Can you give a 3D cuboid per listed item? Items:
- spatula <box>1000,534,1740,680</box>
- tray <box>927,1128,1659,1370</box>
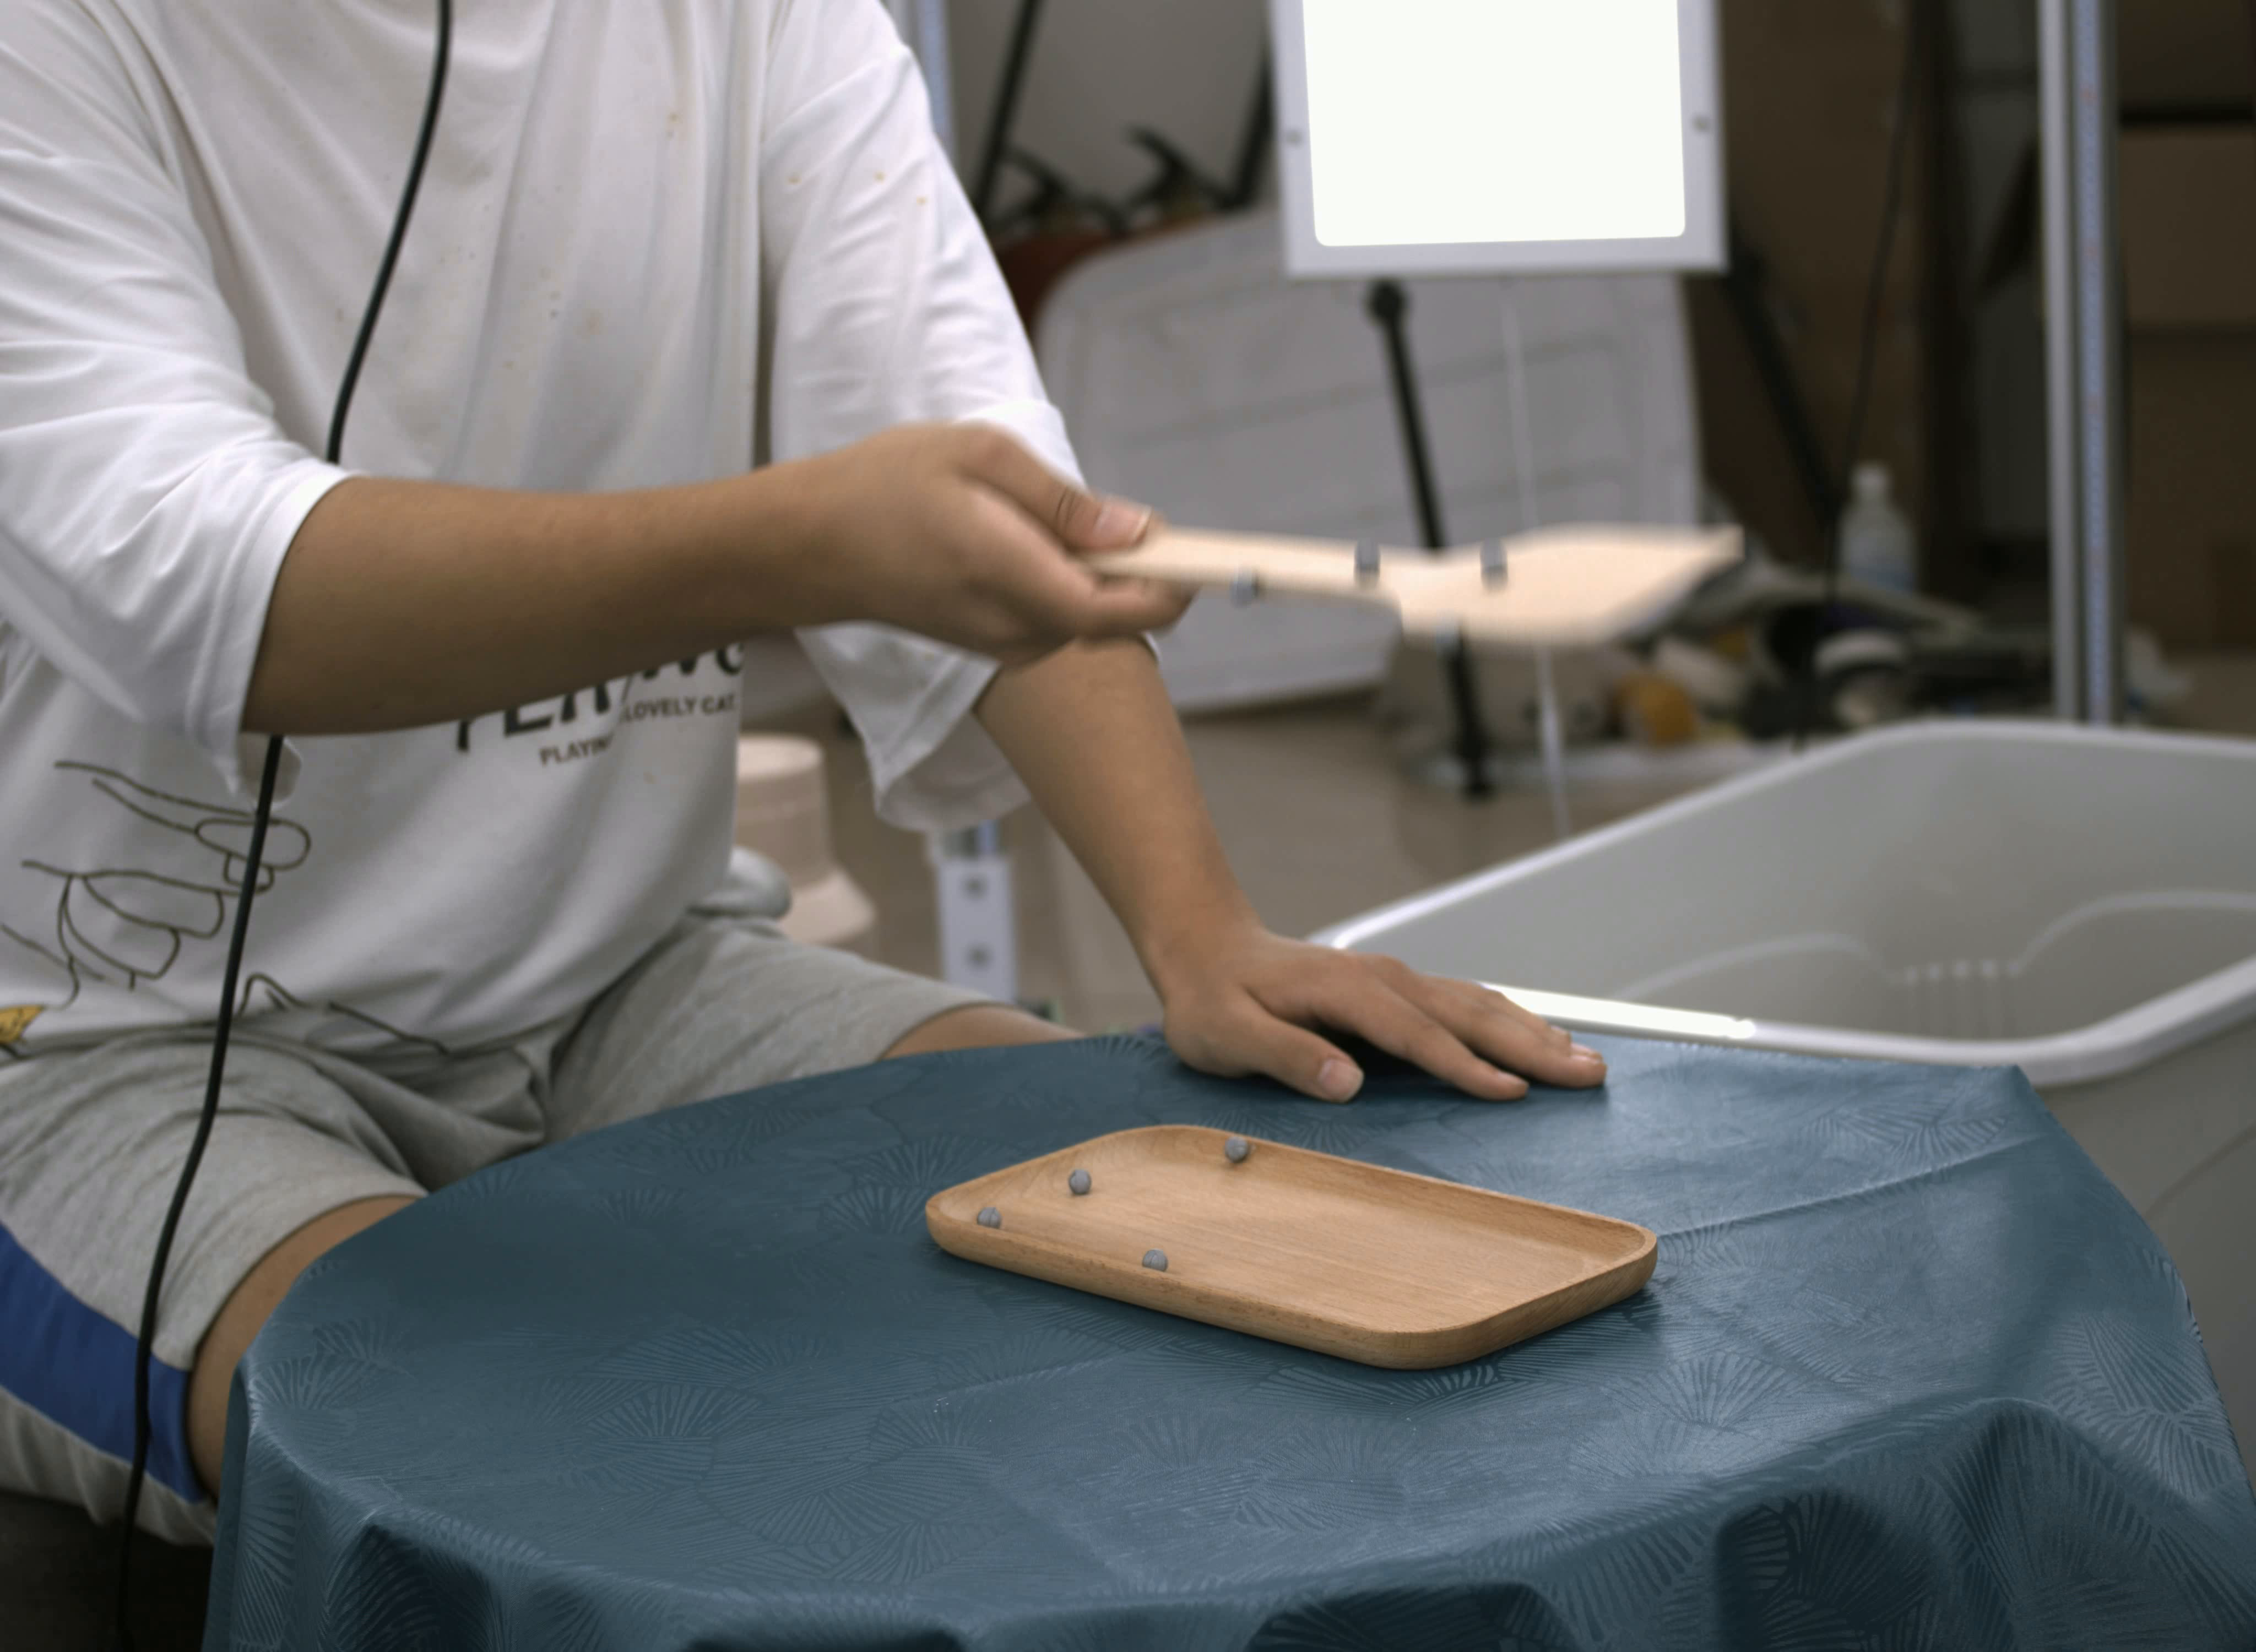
[{"bbox_3d":[0.062,-0.072,1.716,0.070,0.010,0.299,-31,26,-35],"label":"spatula"},{"bbox_3d":[0.052,0.137,1.804,0.127,0.023,0.256,-19,19,-37],"label":"tray"}]
